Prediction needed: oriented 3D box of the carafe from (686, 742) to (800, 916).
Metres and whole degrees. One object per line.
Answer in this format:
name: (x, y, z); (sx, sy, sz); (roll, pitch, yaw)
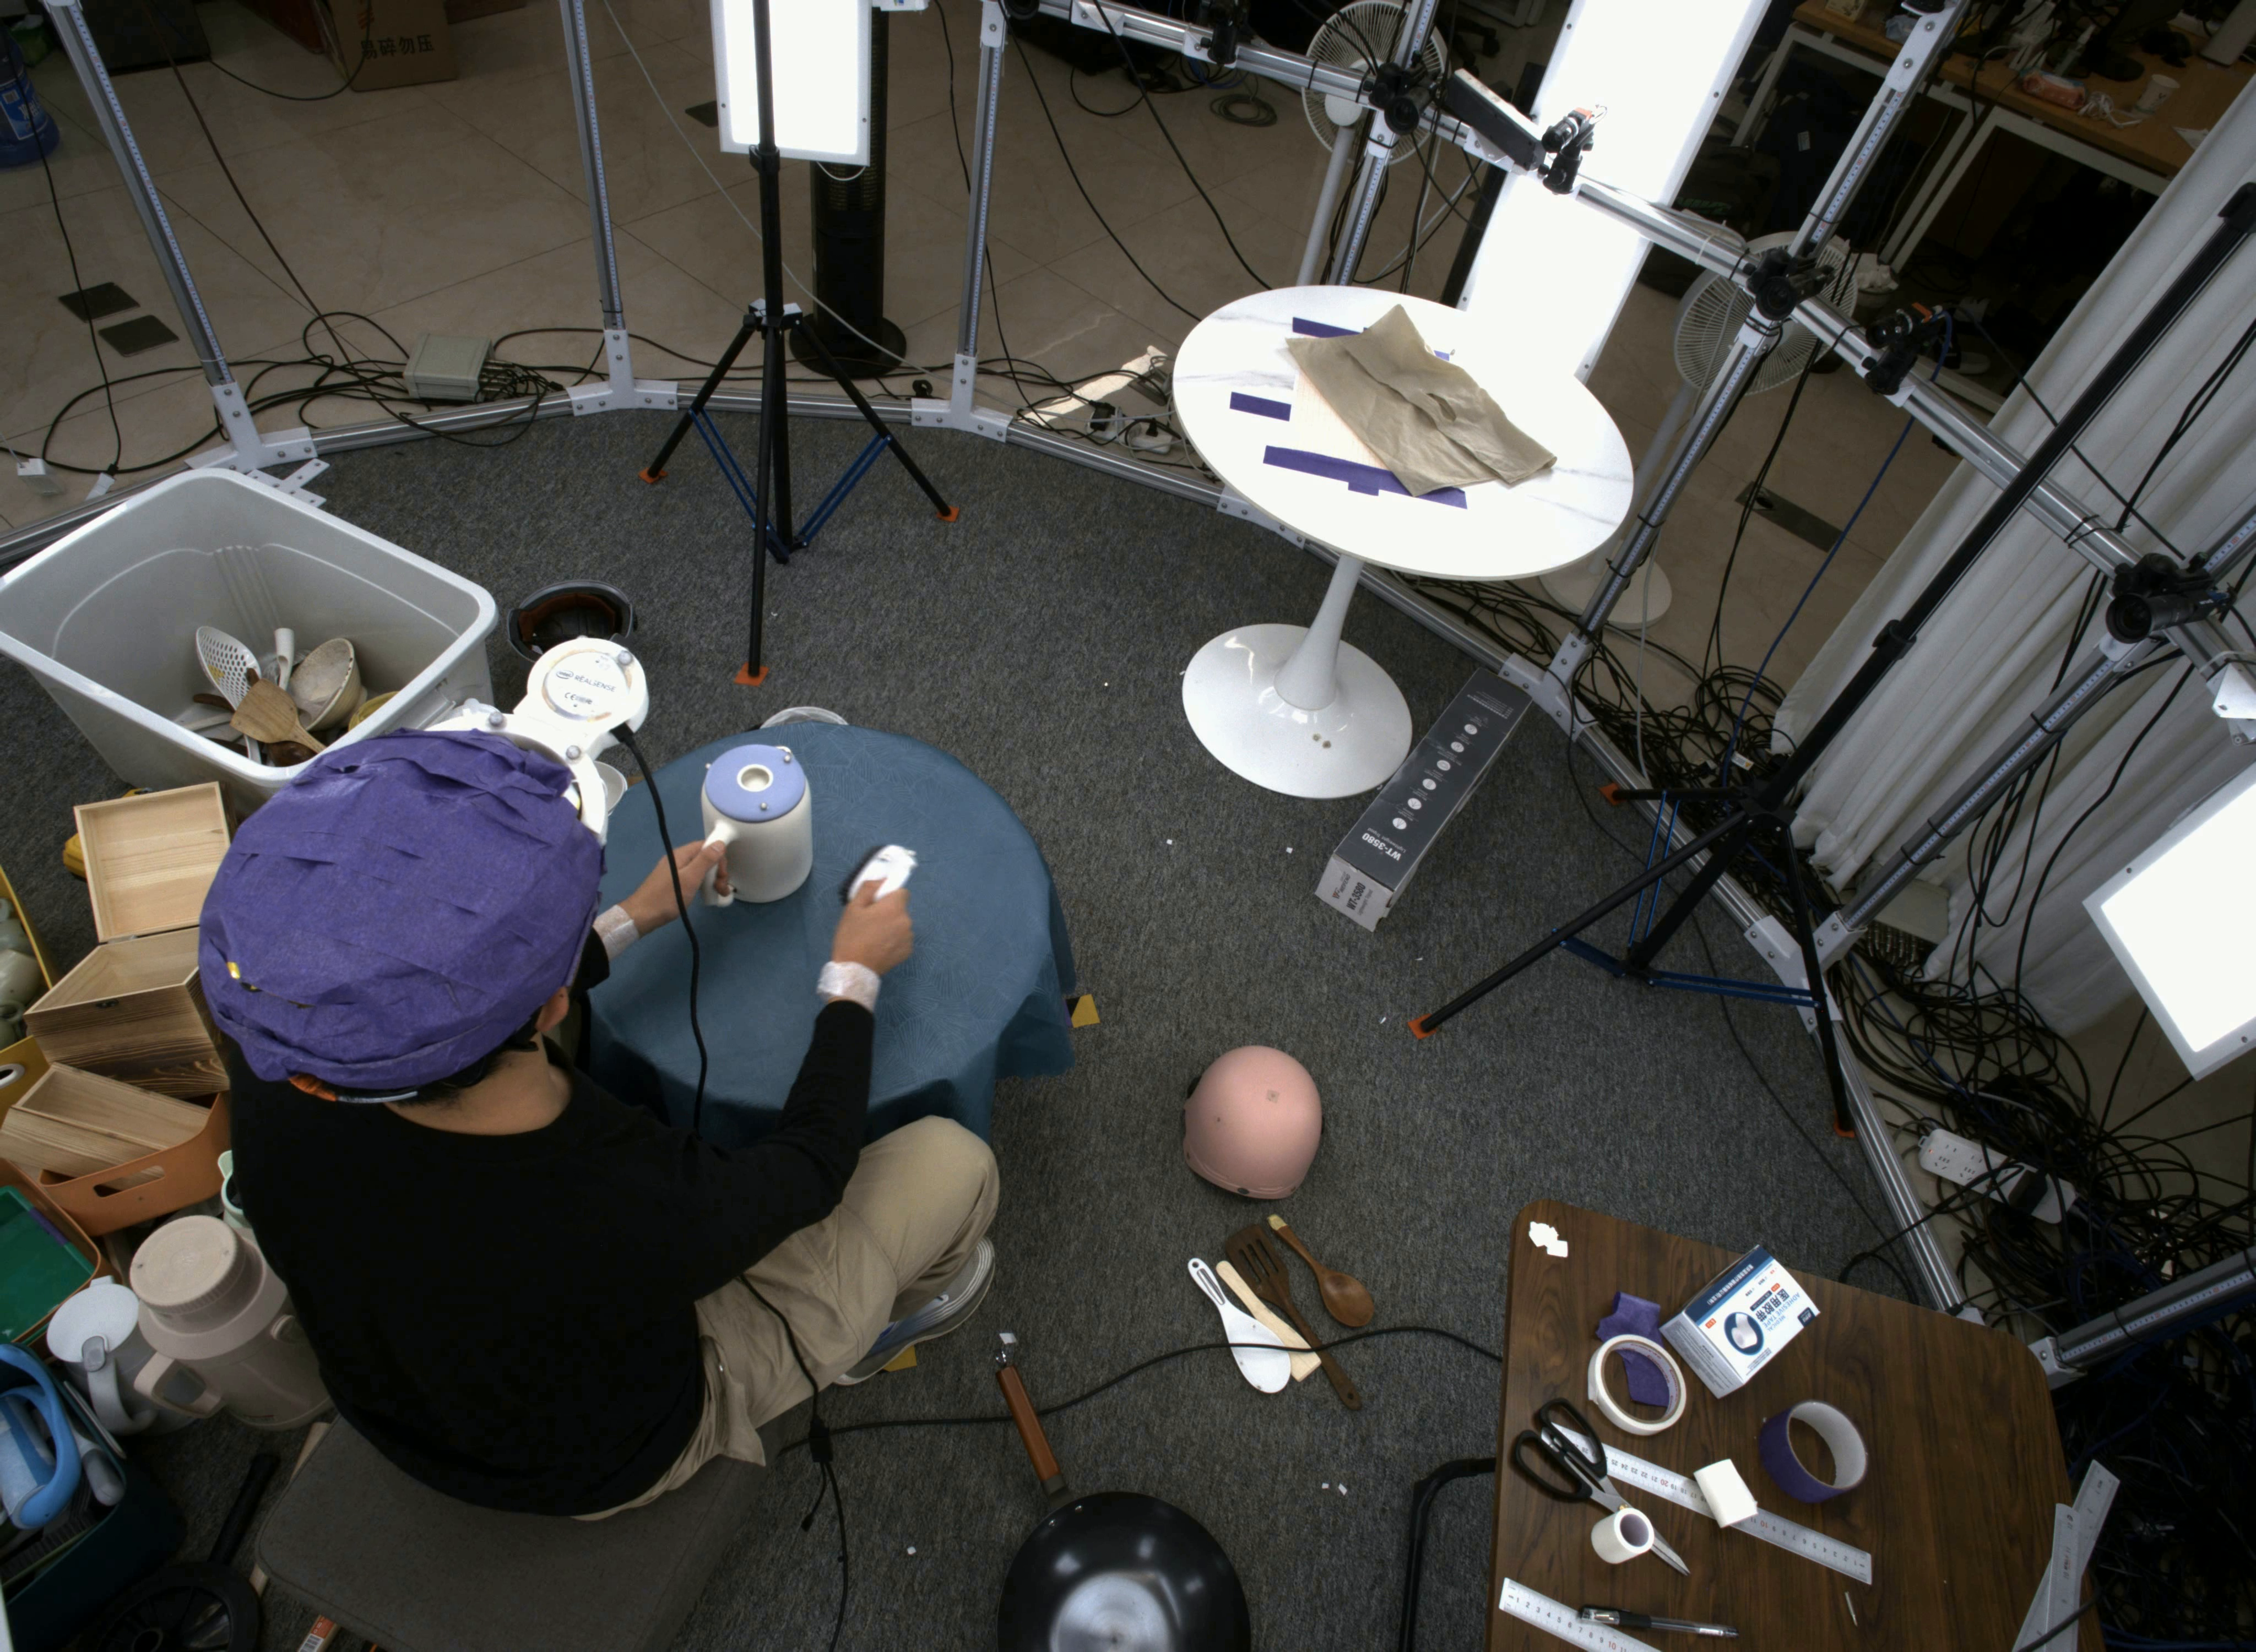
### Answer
carafe: (-0.483, 0.015, 1.581); (0.130, 0.186, 0.189); (20, 53, 4)

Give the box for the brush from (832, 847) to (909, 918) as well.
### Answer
brush: (-0.304, 0.067, 1.567); (0.099, 0.070, 0.052); (-51, 119, -27)
